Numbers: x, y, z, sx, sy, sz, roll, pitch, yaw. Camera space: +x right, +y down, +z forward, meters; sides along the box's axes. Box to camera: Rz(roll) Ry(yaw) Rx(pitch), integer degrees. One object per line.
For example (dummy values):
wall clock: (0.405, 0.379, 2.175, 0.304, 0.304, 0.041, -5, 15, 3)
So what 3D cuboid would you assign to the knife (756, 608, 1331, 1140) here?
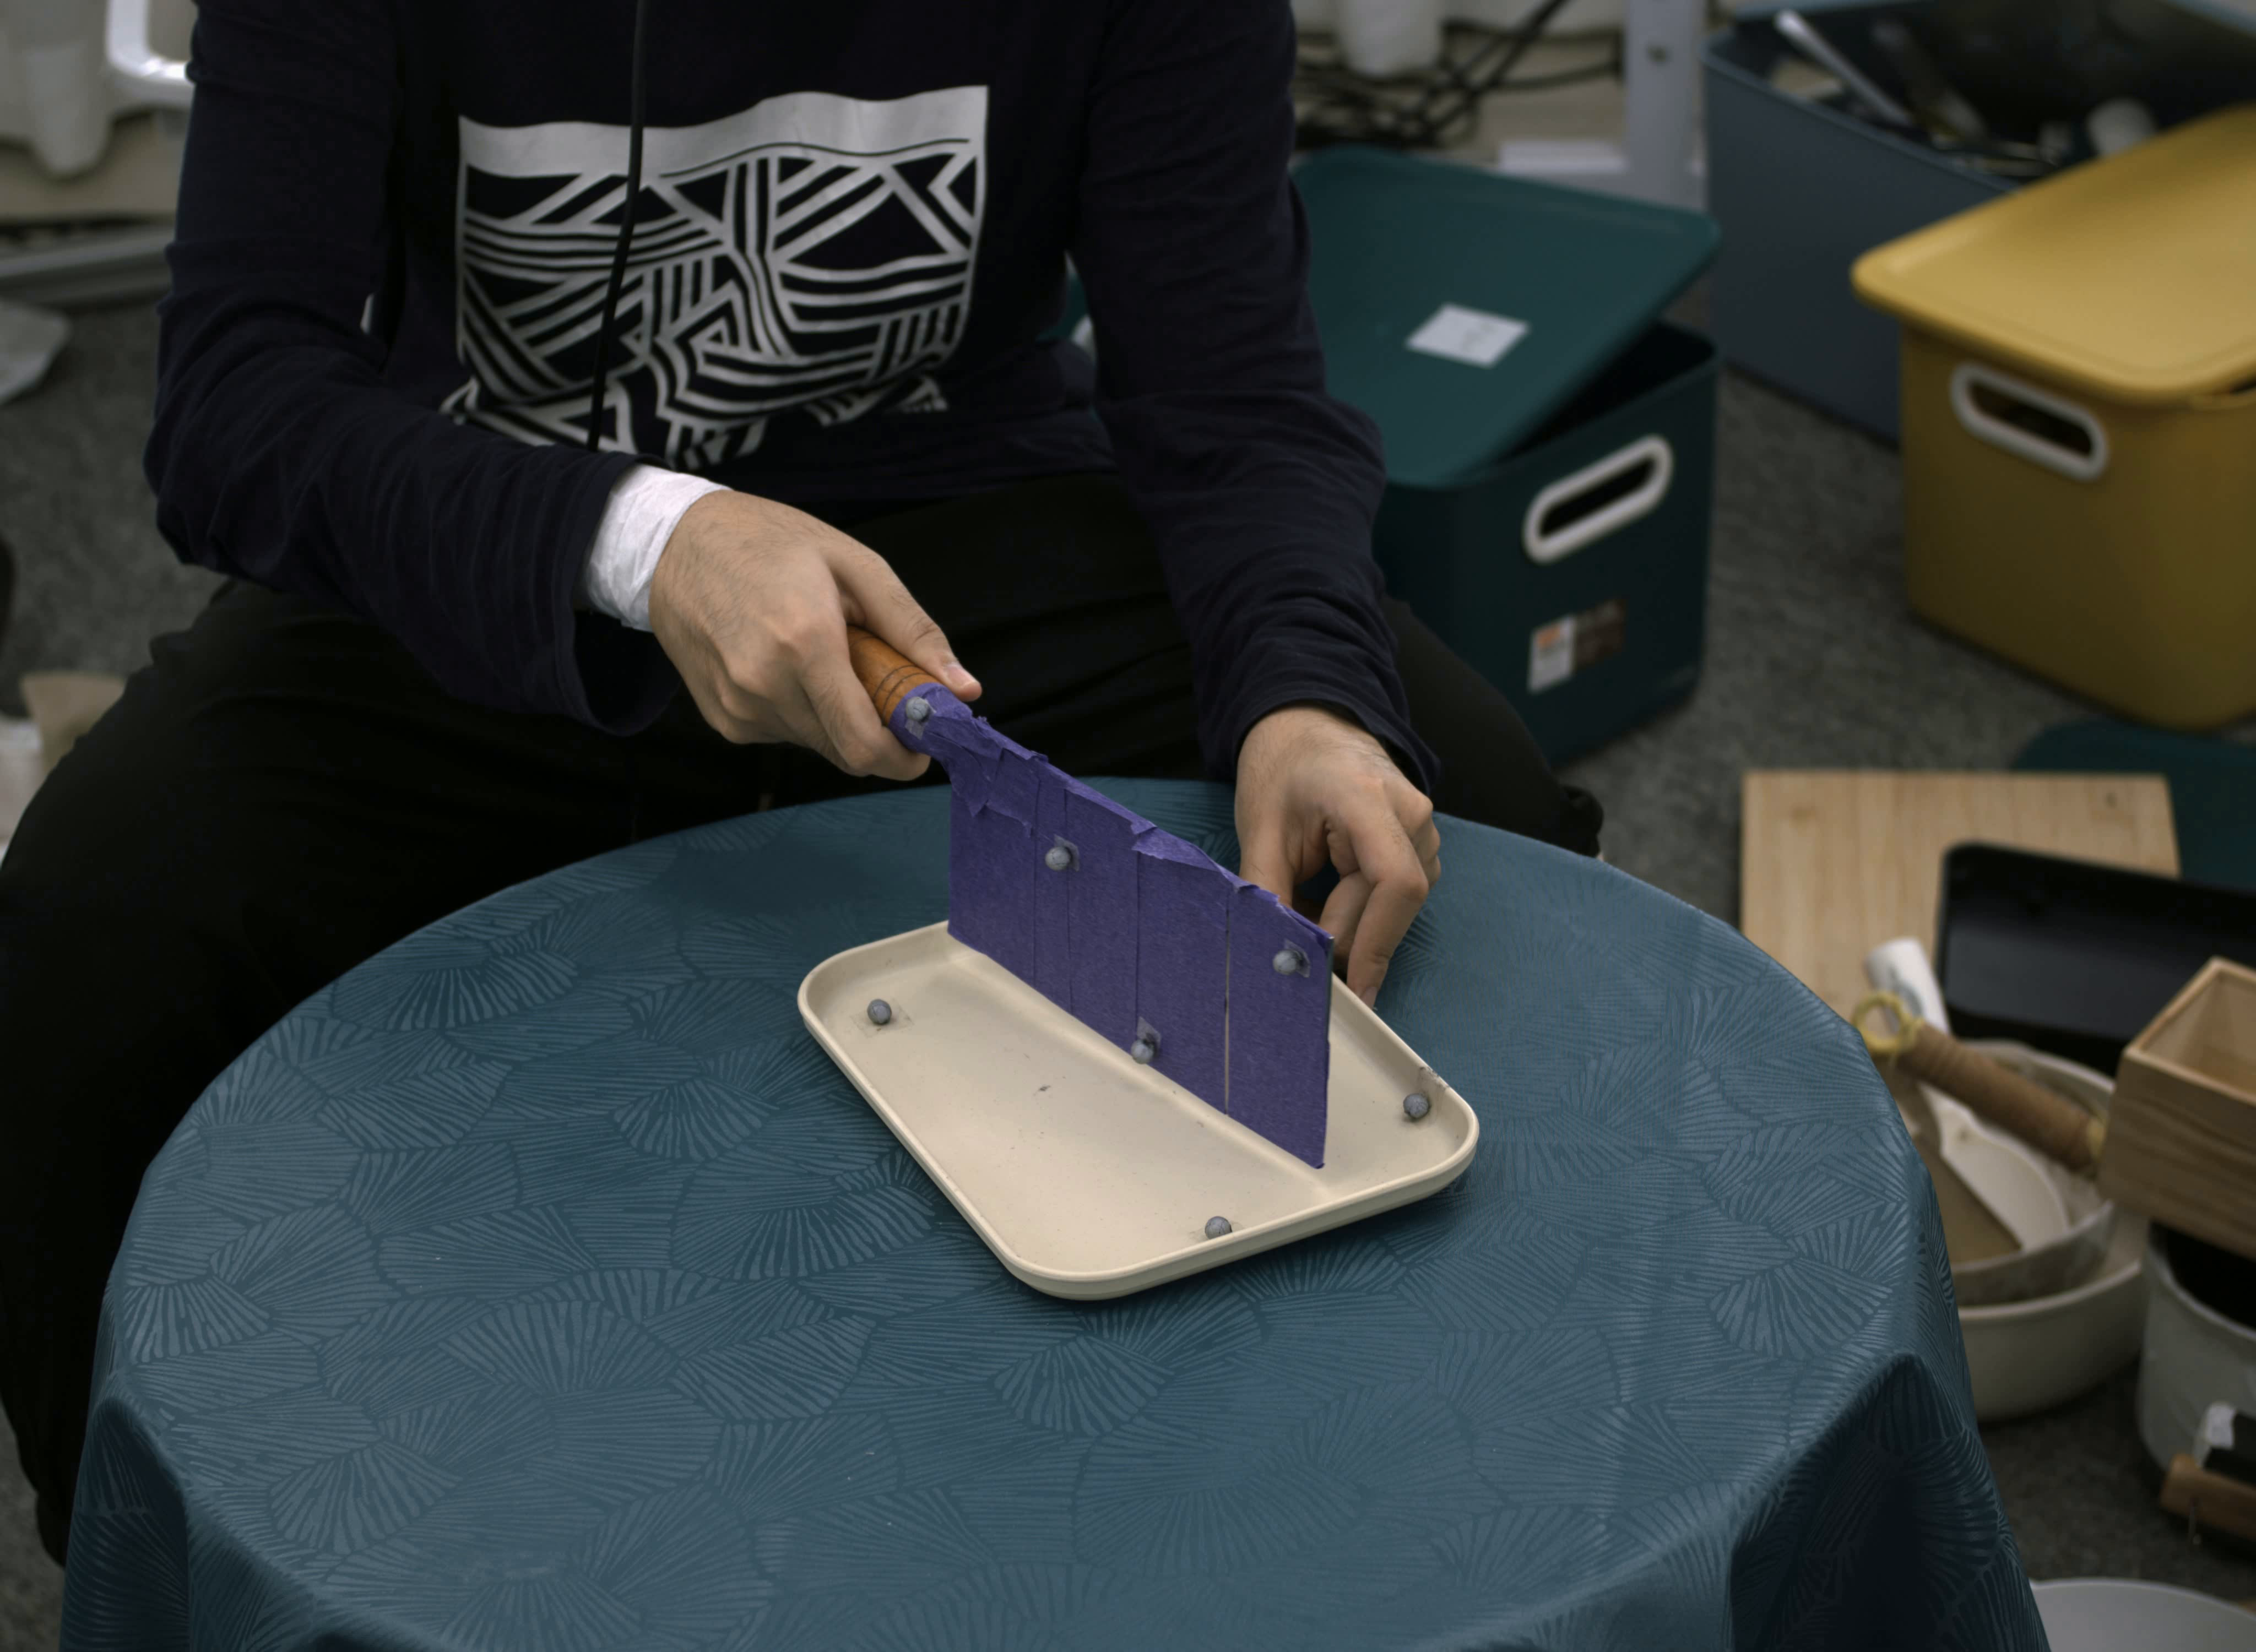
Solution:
knife: (-0.033, 0.017, 1.930, 0.032, 0.103, 0.316, -14, 29, -33)

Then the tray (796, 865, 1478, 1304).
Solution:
tray: (0.000, 0.085, 1.906, 0.172, 0.017, 0.241, -17, 30, -19)
